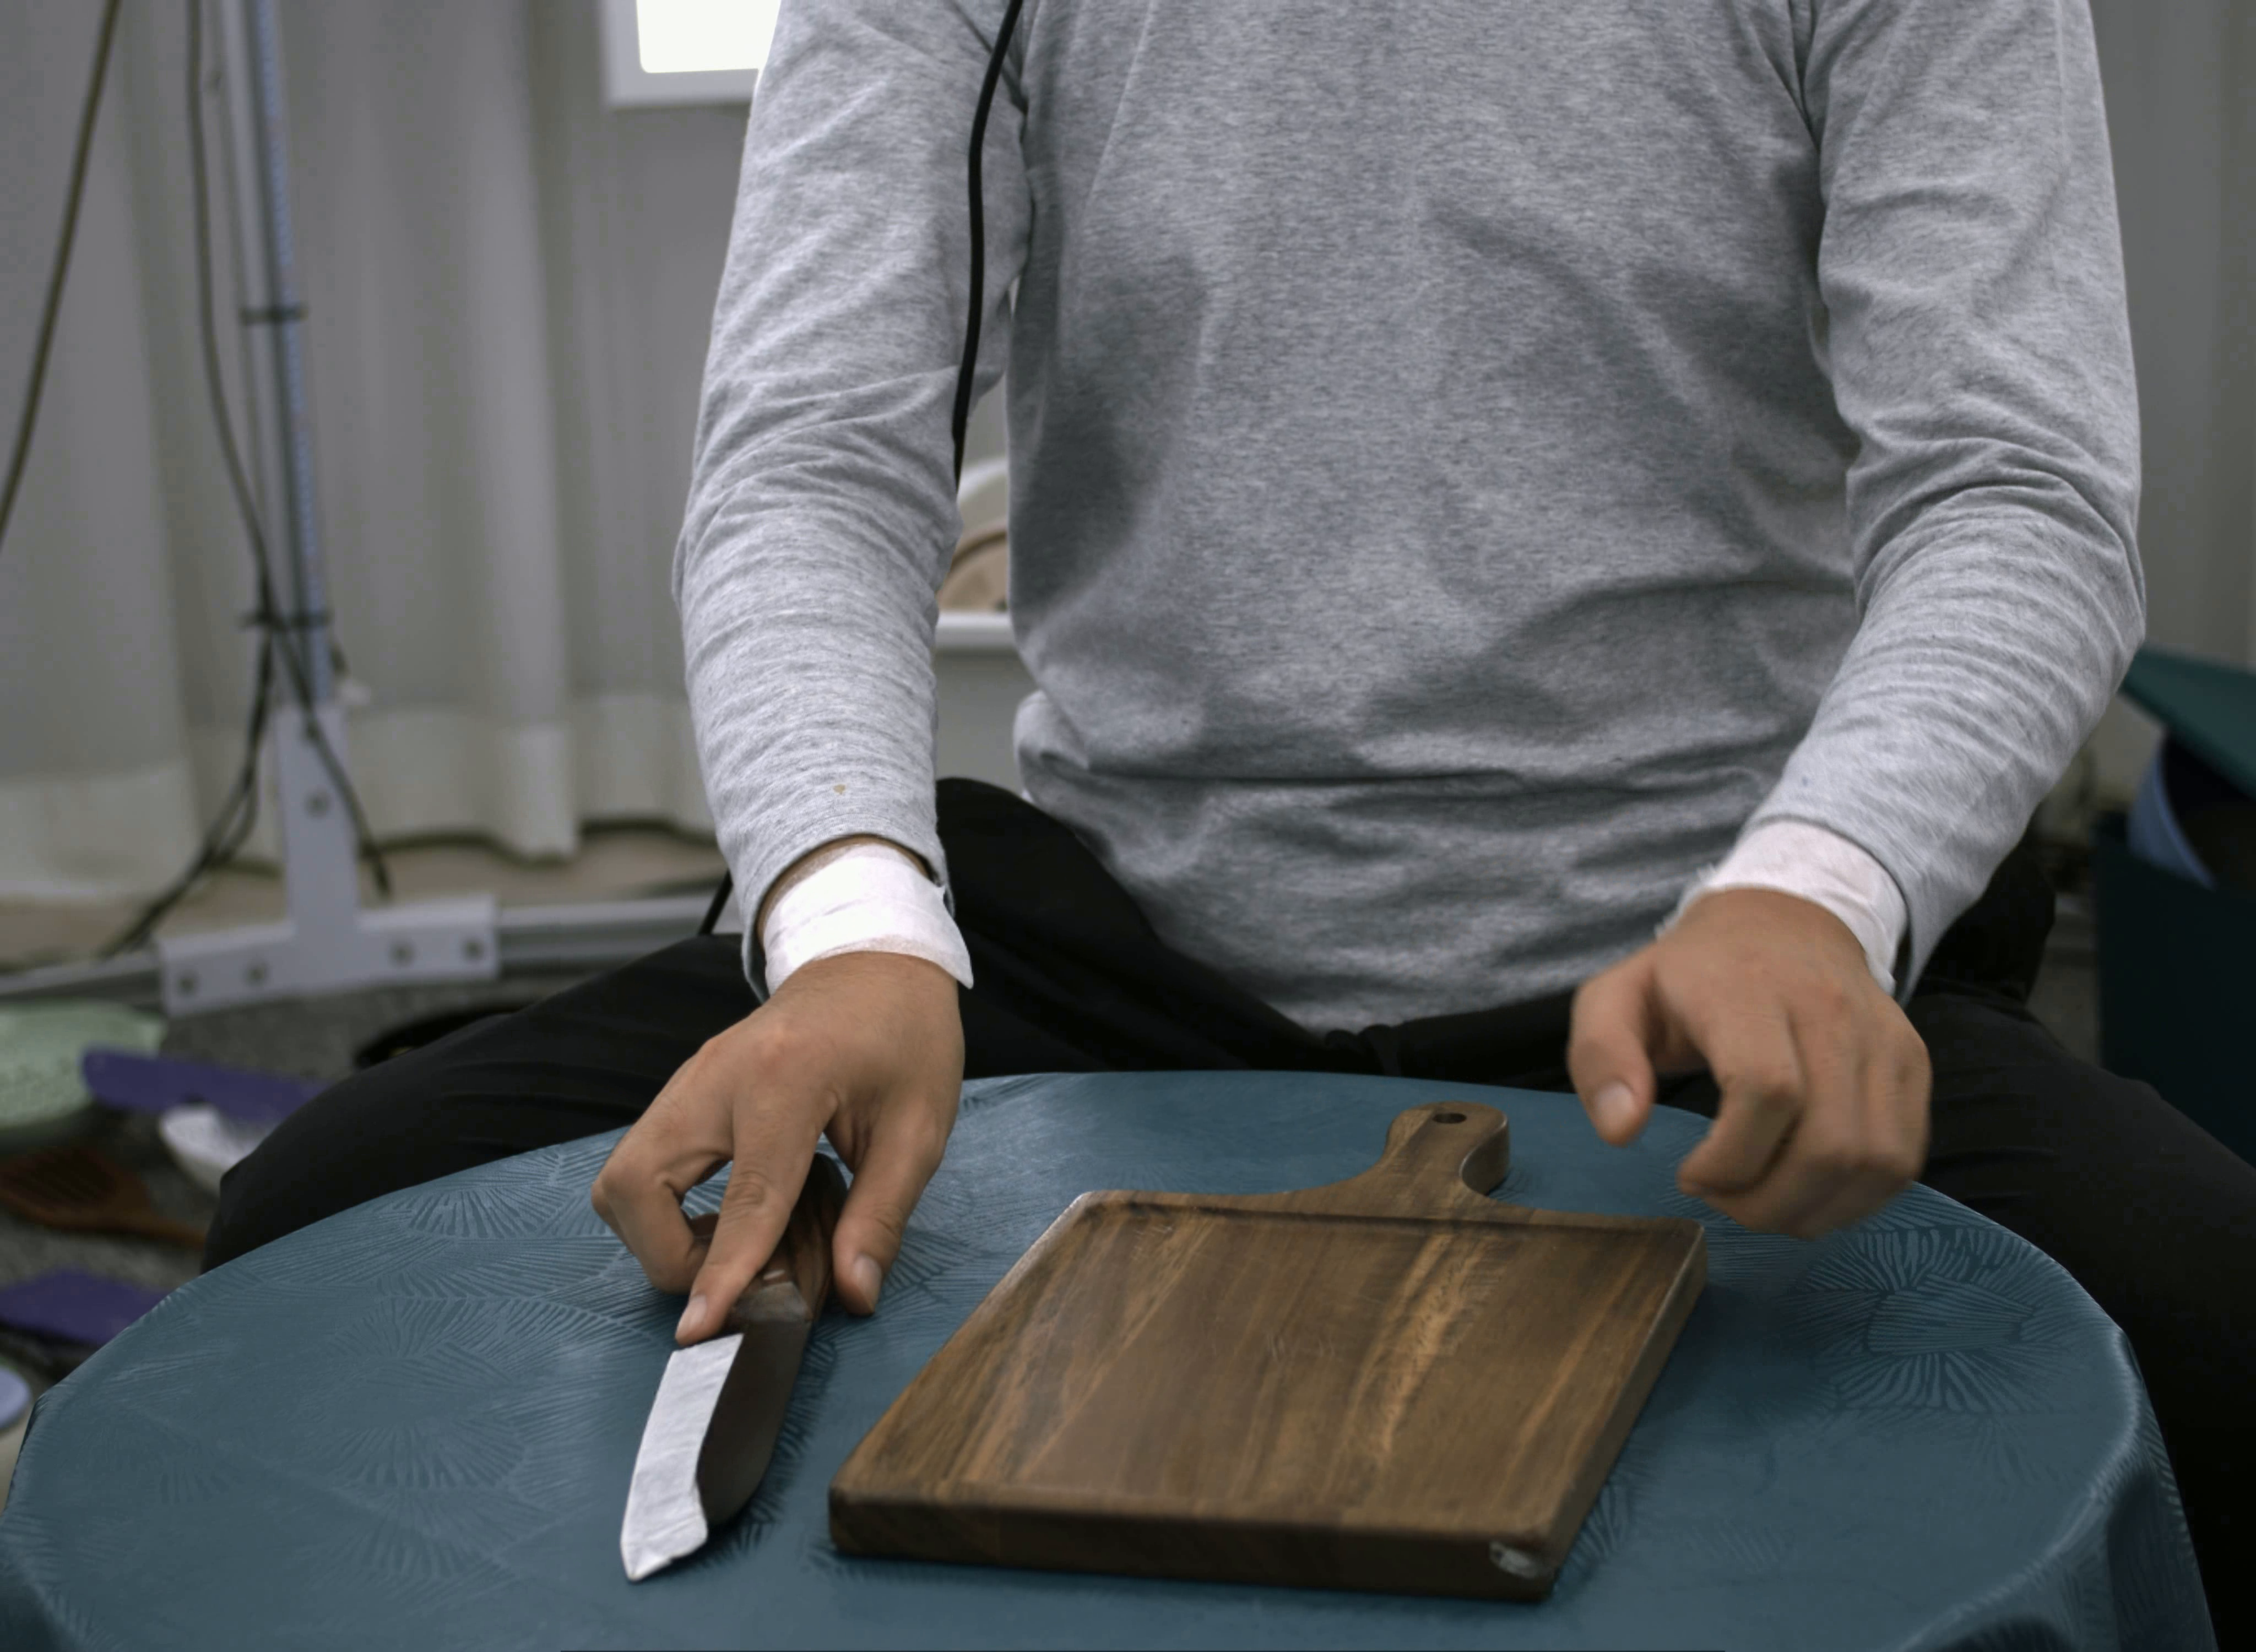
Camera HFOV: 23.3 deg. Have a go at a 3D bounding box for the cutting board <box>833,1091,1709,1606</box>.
[{"bbox_3d":[0.059,0.140,1.568,0.201,0.023,0.353,2,16,16],"label":"cutting board"}]

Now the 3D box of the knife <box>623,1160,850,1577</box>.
[{"bbox_3d":[-0.111,0.154,1.562,0.050,0.020,0.291,-17,14,10],"label":"knife"}]
